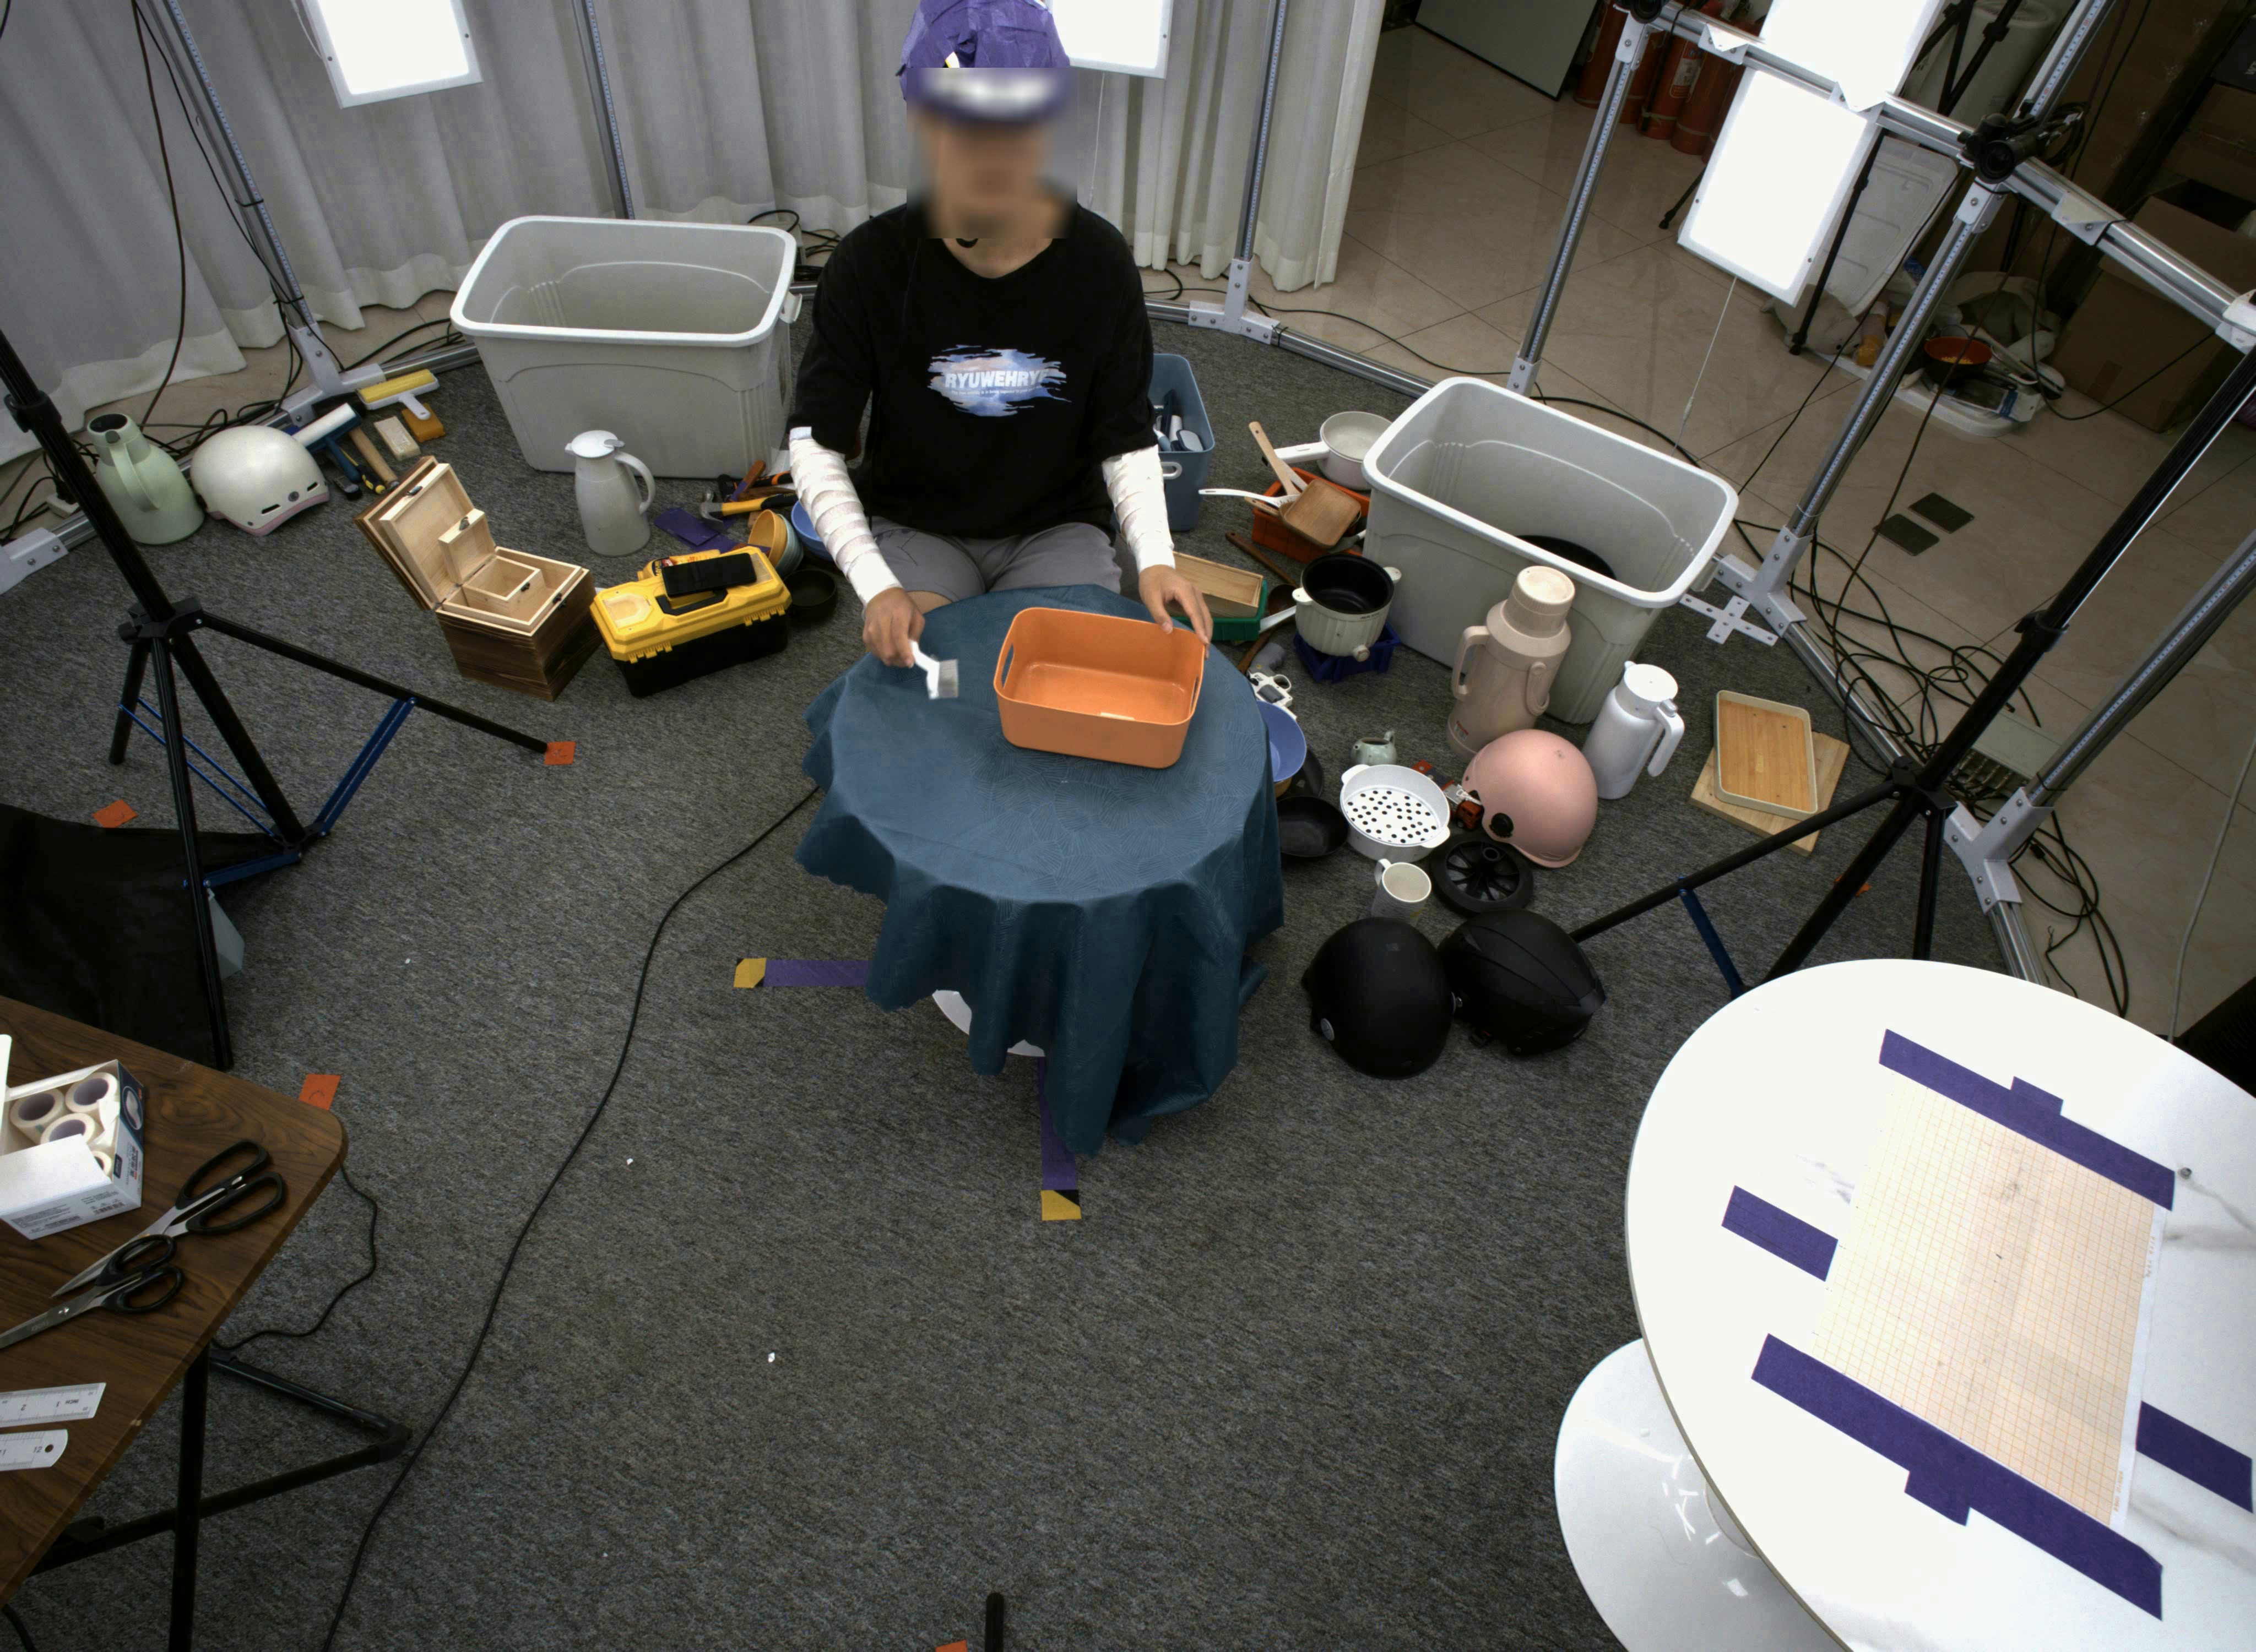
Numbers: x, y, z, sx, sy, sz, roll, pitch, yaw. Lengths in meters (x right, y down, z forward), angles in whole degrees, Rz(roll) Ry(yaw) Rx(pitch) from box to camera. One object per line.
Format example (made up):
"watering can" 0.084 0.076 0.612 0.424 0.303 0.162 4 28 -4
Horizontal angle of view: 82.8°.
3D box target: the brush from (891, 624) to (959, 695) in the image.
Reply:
"brush" -0.270 -0.230 1.739 0.050 0.034 0.248 -10 28 -21

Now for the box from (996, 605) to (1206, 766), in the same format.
"box" -0.037 -0.191 1.766 0.273 0.100 0.204 9 50 3
